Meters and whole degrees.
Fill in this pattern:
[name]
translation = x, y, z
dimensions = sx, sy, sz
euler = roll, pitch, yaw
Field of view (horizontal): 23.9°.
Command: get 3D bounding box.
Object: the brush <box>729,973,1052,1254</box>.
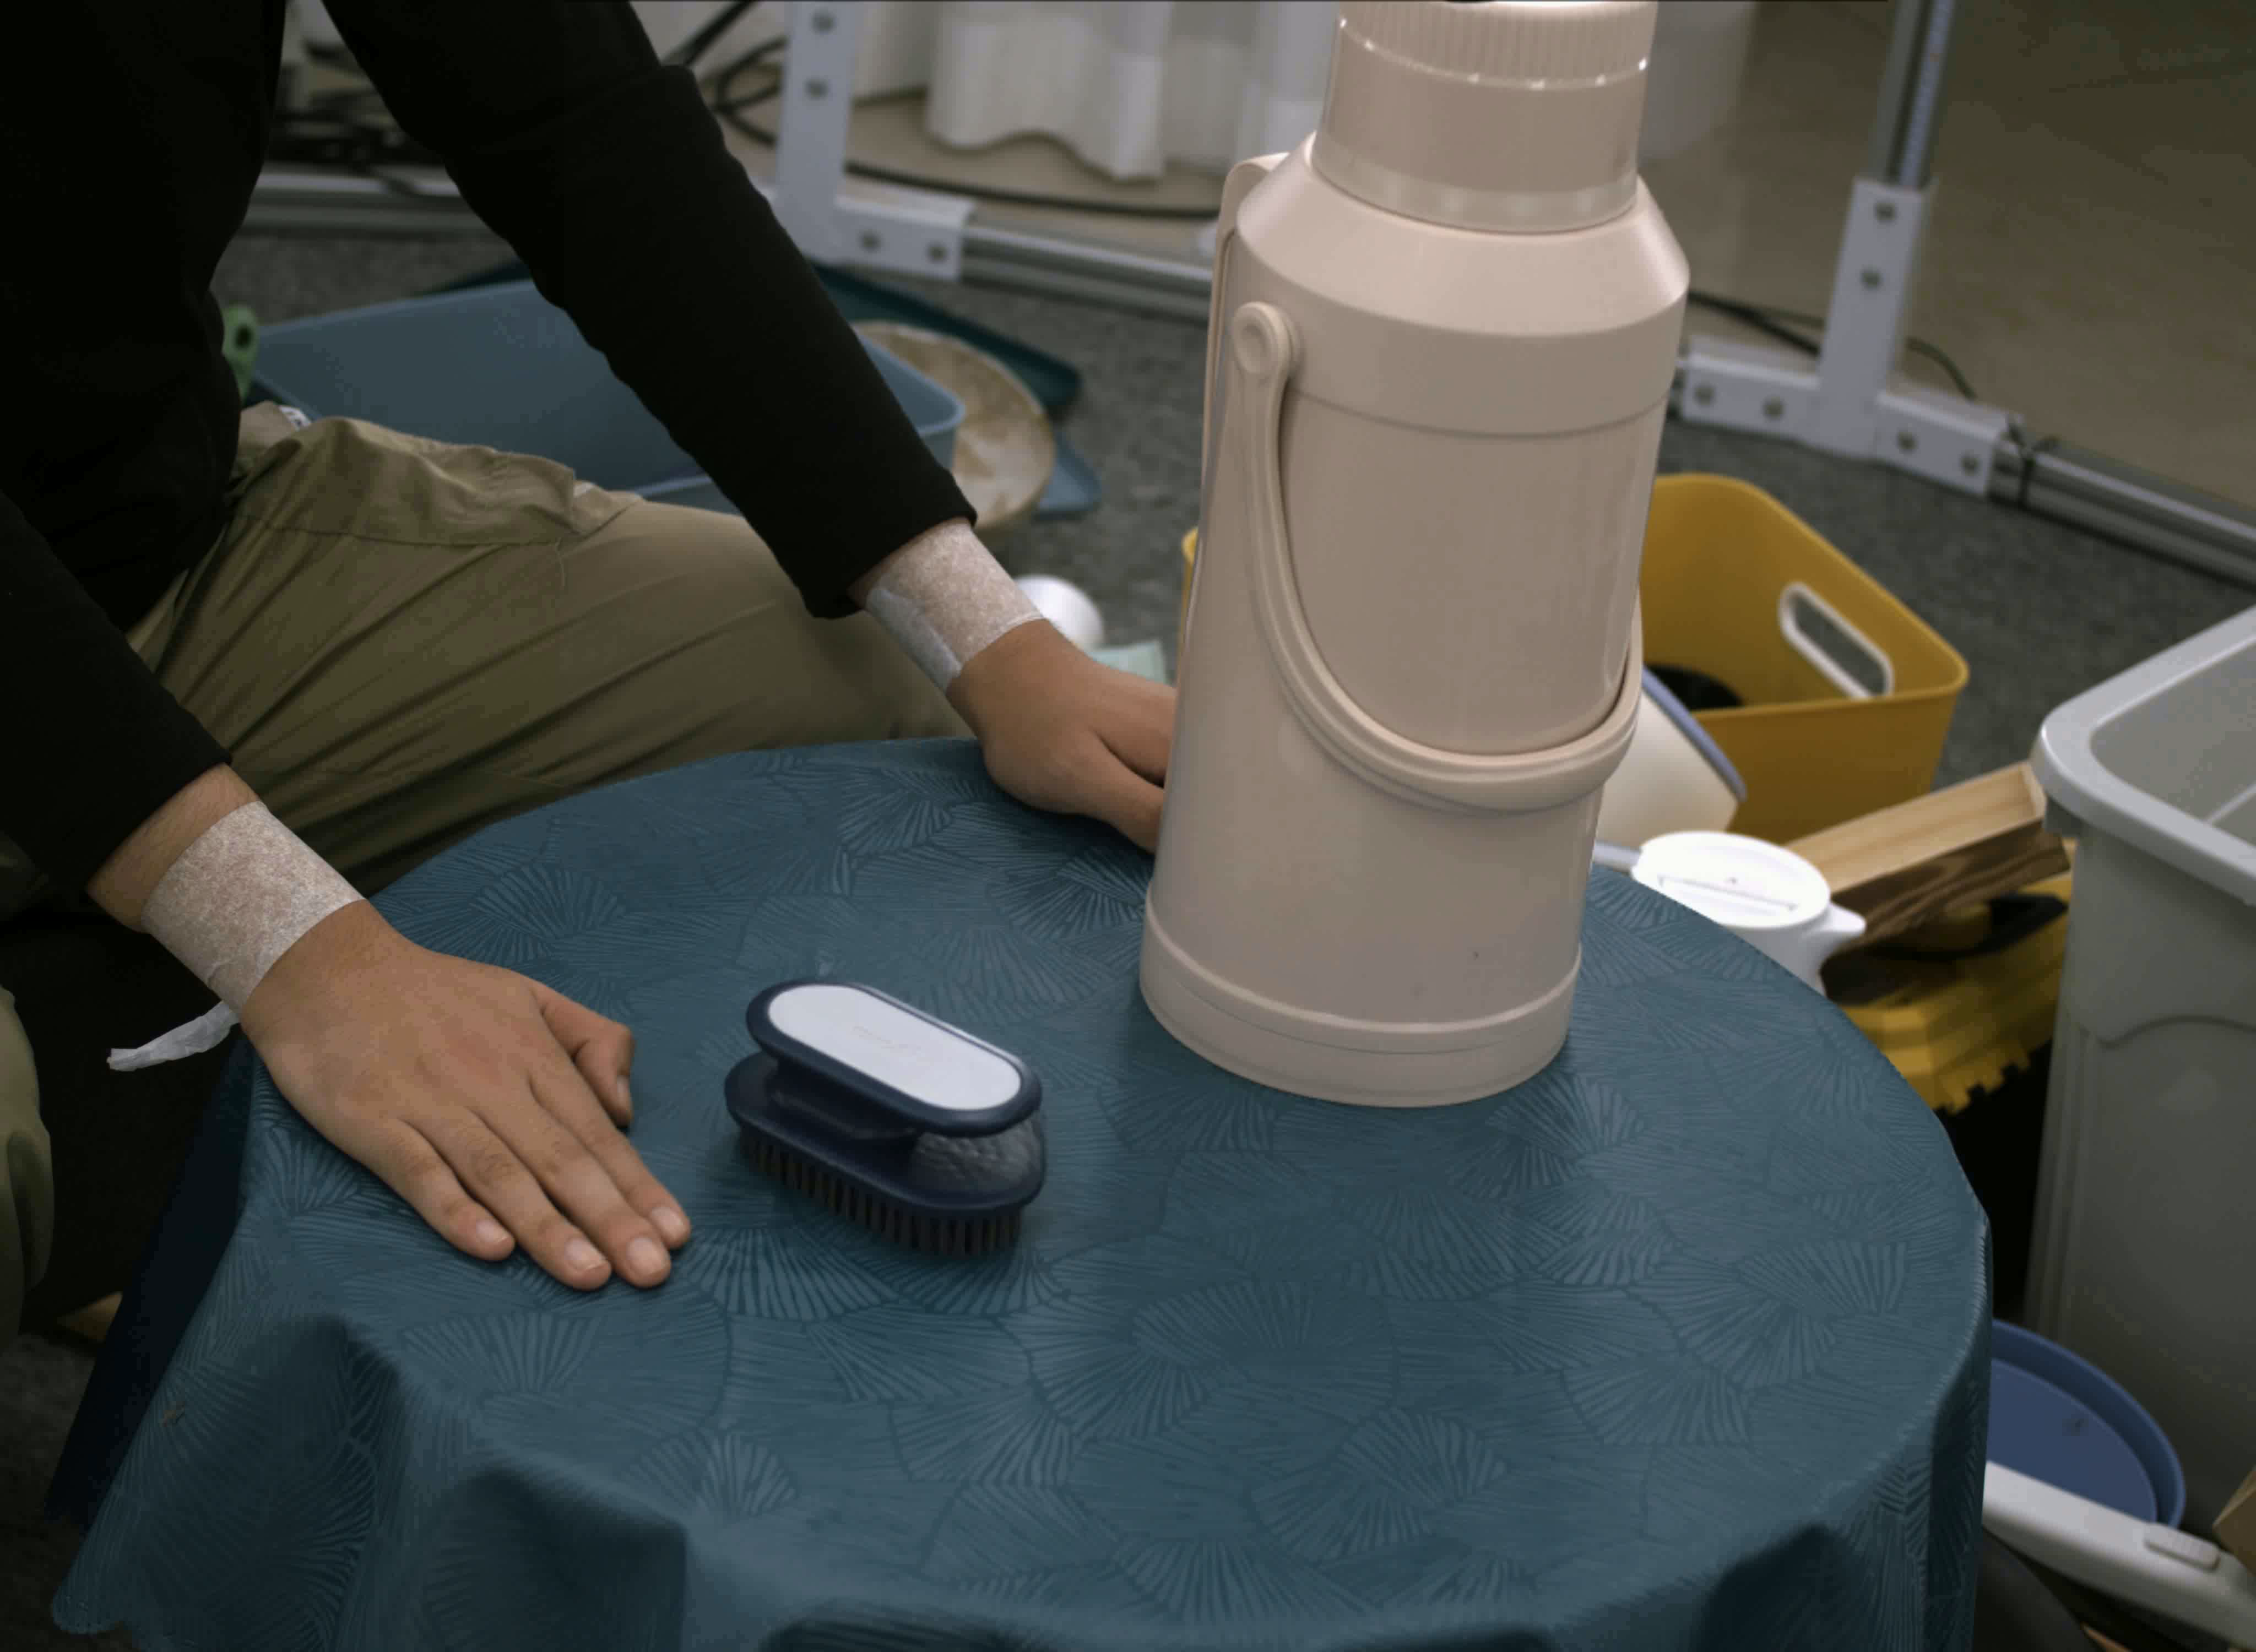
[brush]
translation = -0.079, 0.097, 1.774
dimensions = 0.122, 0.061, 0.067
euler = 26, 29, 32

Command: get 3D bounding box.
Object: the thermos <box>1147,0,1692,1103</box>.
[thermos]
translation = 0.097, -0.119, 1.864
dimensions = 0.174, 0.405, 0.209
euler = -15, 34, -34
